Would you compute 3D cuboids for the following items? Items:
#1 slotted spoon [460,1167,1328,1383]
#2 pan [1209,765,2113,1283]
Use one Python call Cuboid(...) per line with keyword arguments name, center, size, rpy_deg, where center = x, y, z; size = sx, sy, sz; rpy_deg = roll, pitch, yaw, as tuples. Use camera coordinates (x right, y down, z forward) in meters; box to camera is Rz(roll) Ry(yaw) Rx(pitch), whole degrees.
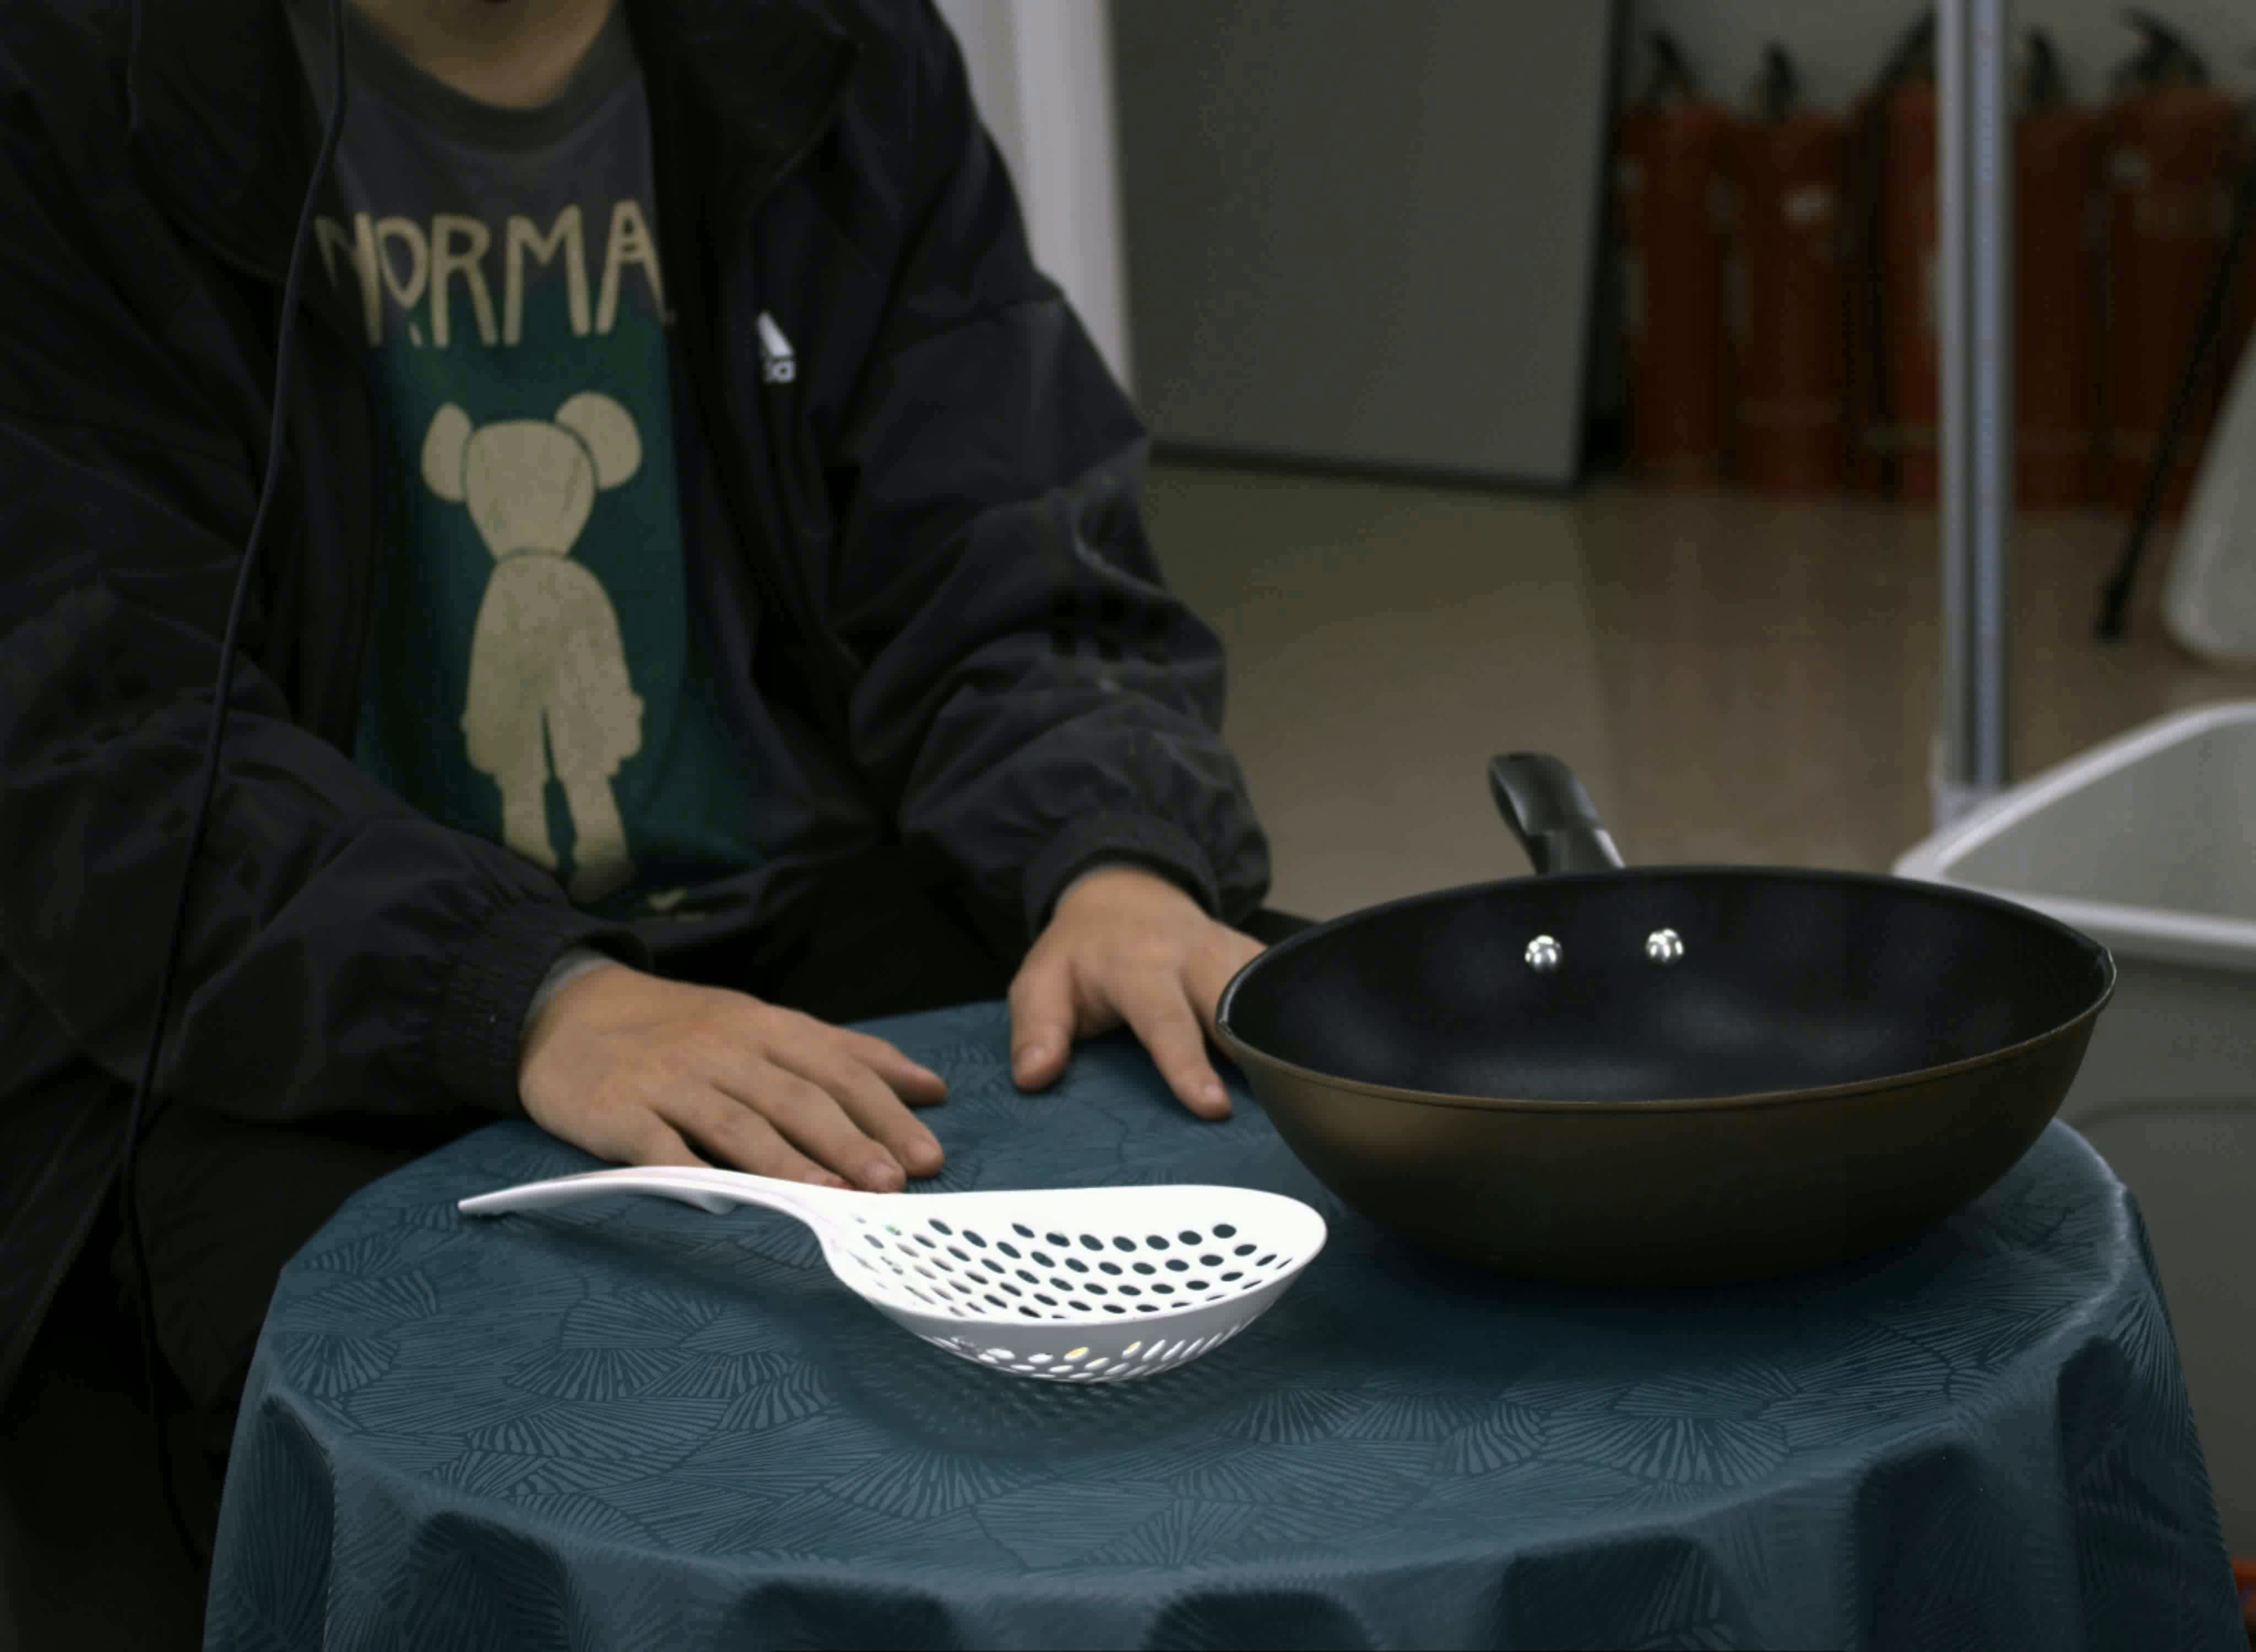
Cuboid(name="slotted spoon", center=(-0.087, 0.130, 1.677), size=(0.351, 0.051, 0.134), rpy_deg=(8, 20, 43))
Cuboid(name="pan", center=(0.163, 0.063, 1.787), size=(0.284, 0.088, 0.464), rpy_deg=(-4, 12, -2))
